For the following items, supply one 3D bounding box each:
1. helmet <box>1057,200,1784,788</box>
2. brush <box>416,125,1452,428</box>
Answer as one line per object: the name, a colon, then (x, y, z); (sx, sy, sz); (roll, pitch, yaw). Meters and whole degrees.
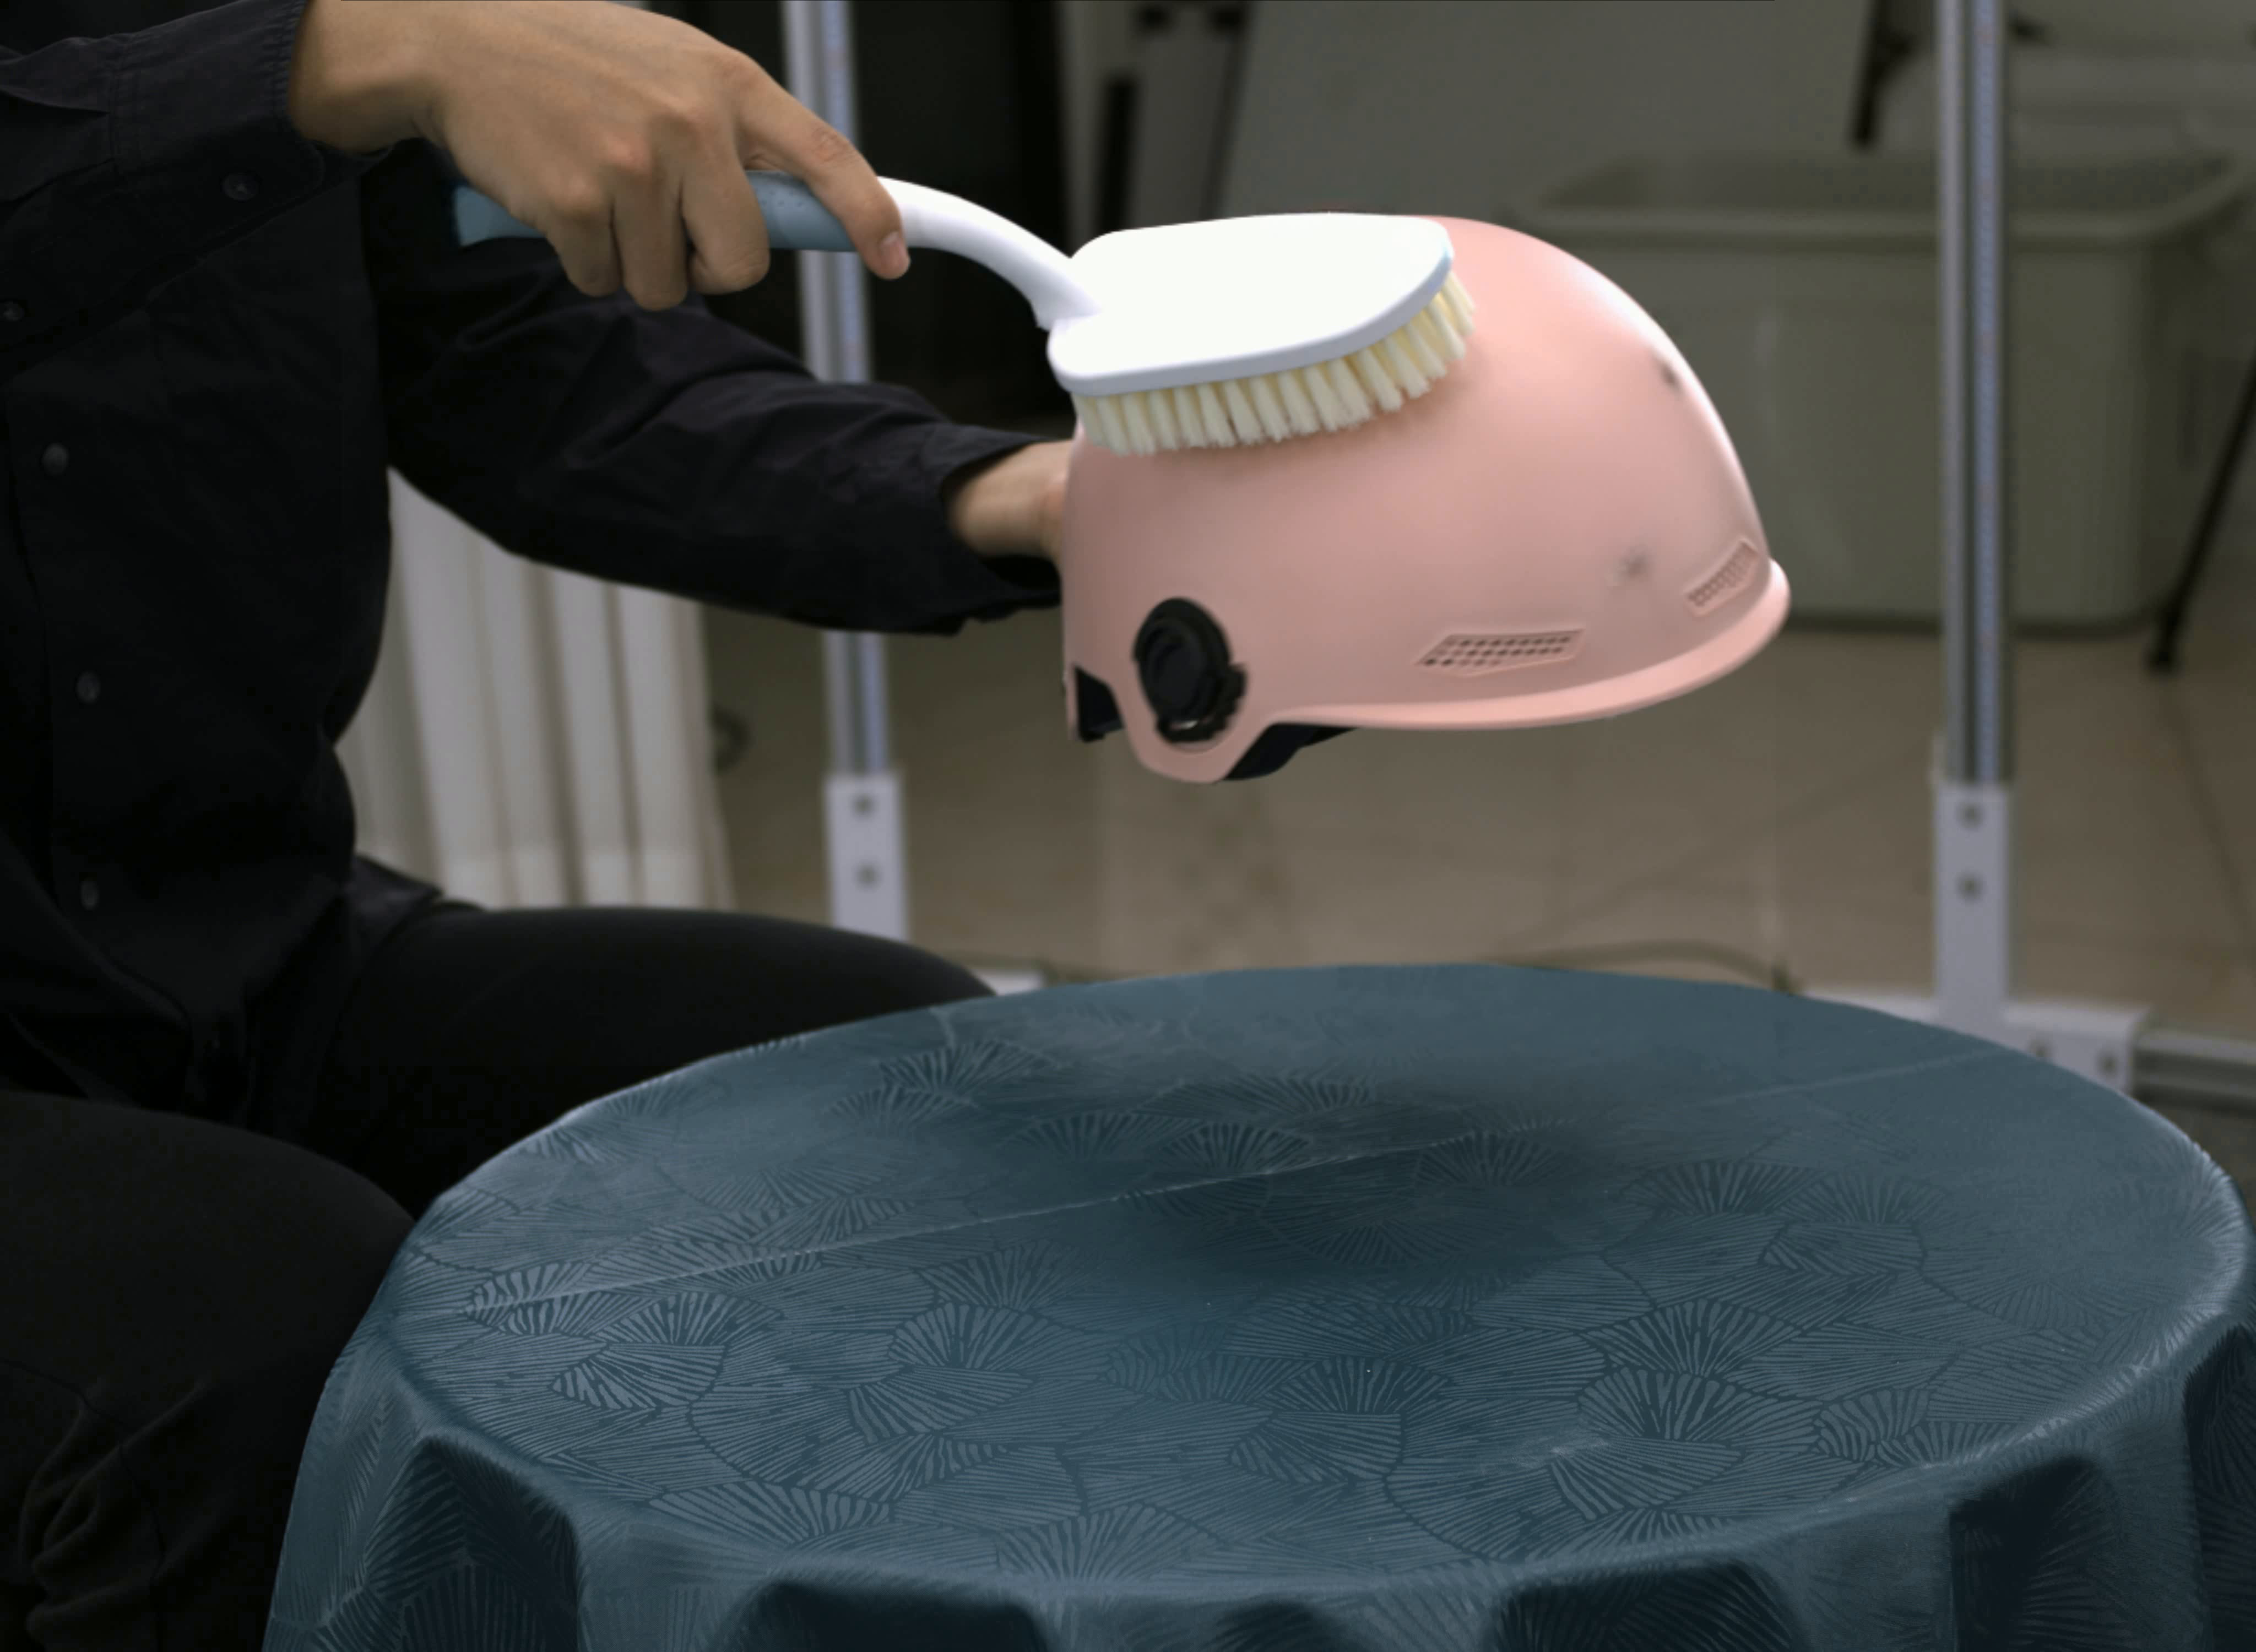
helmet: (0.086, -0.118, 1.748); (0.229, 0.160, 0.269); (-18, 17, -27)
brush: (-0.060, -0.169, 1.679); (0.323, 0.085, 0.082); (3, 9, 10)
